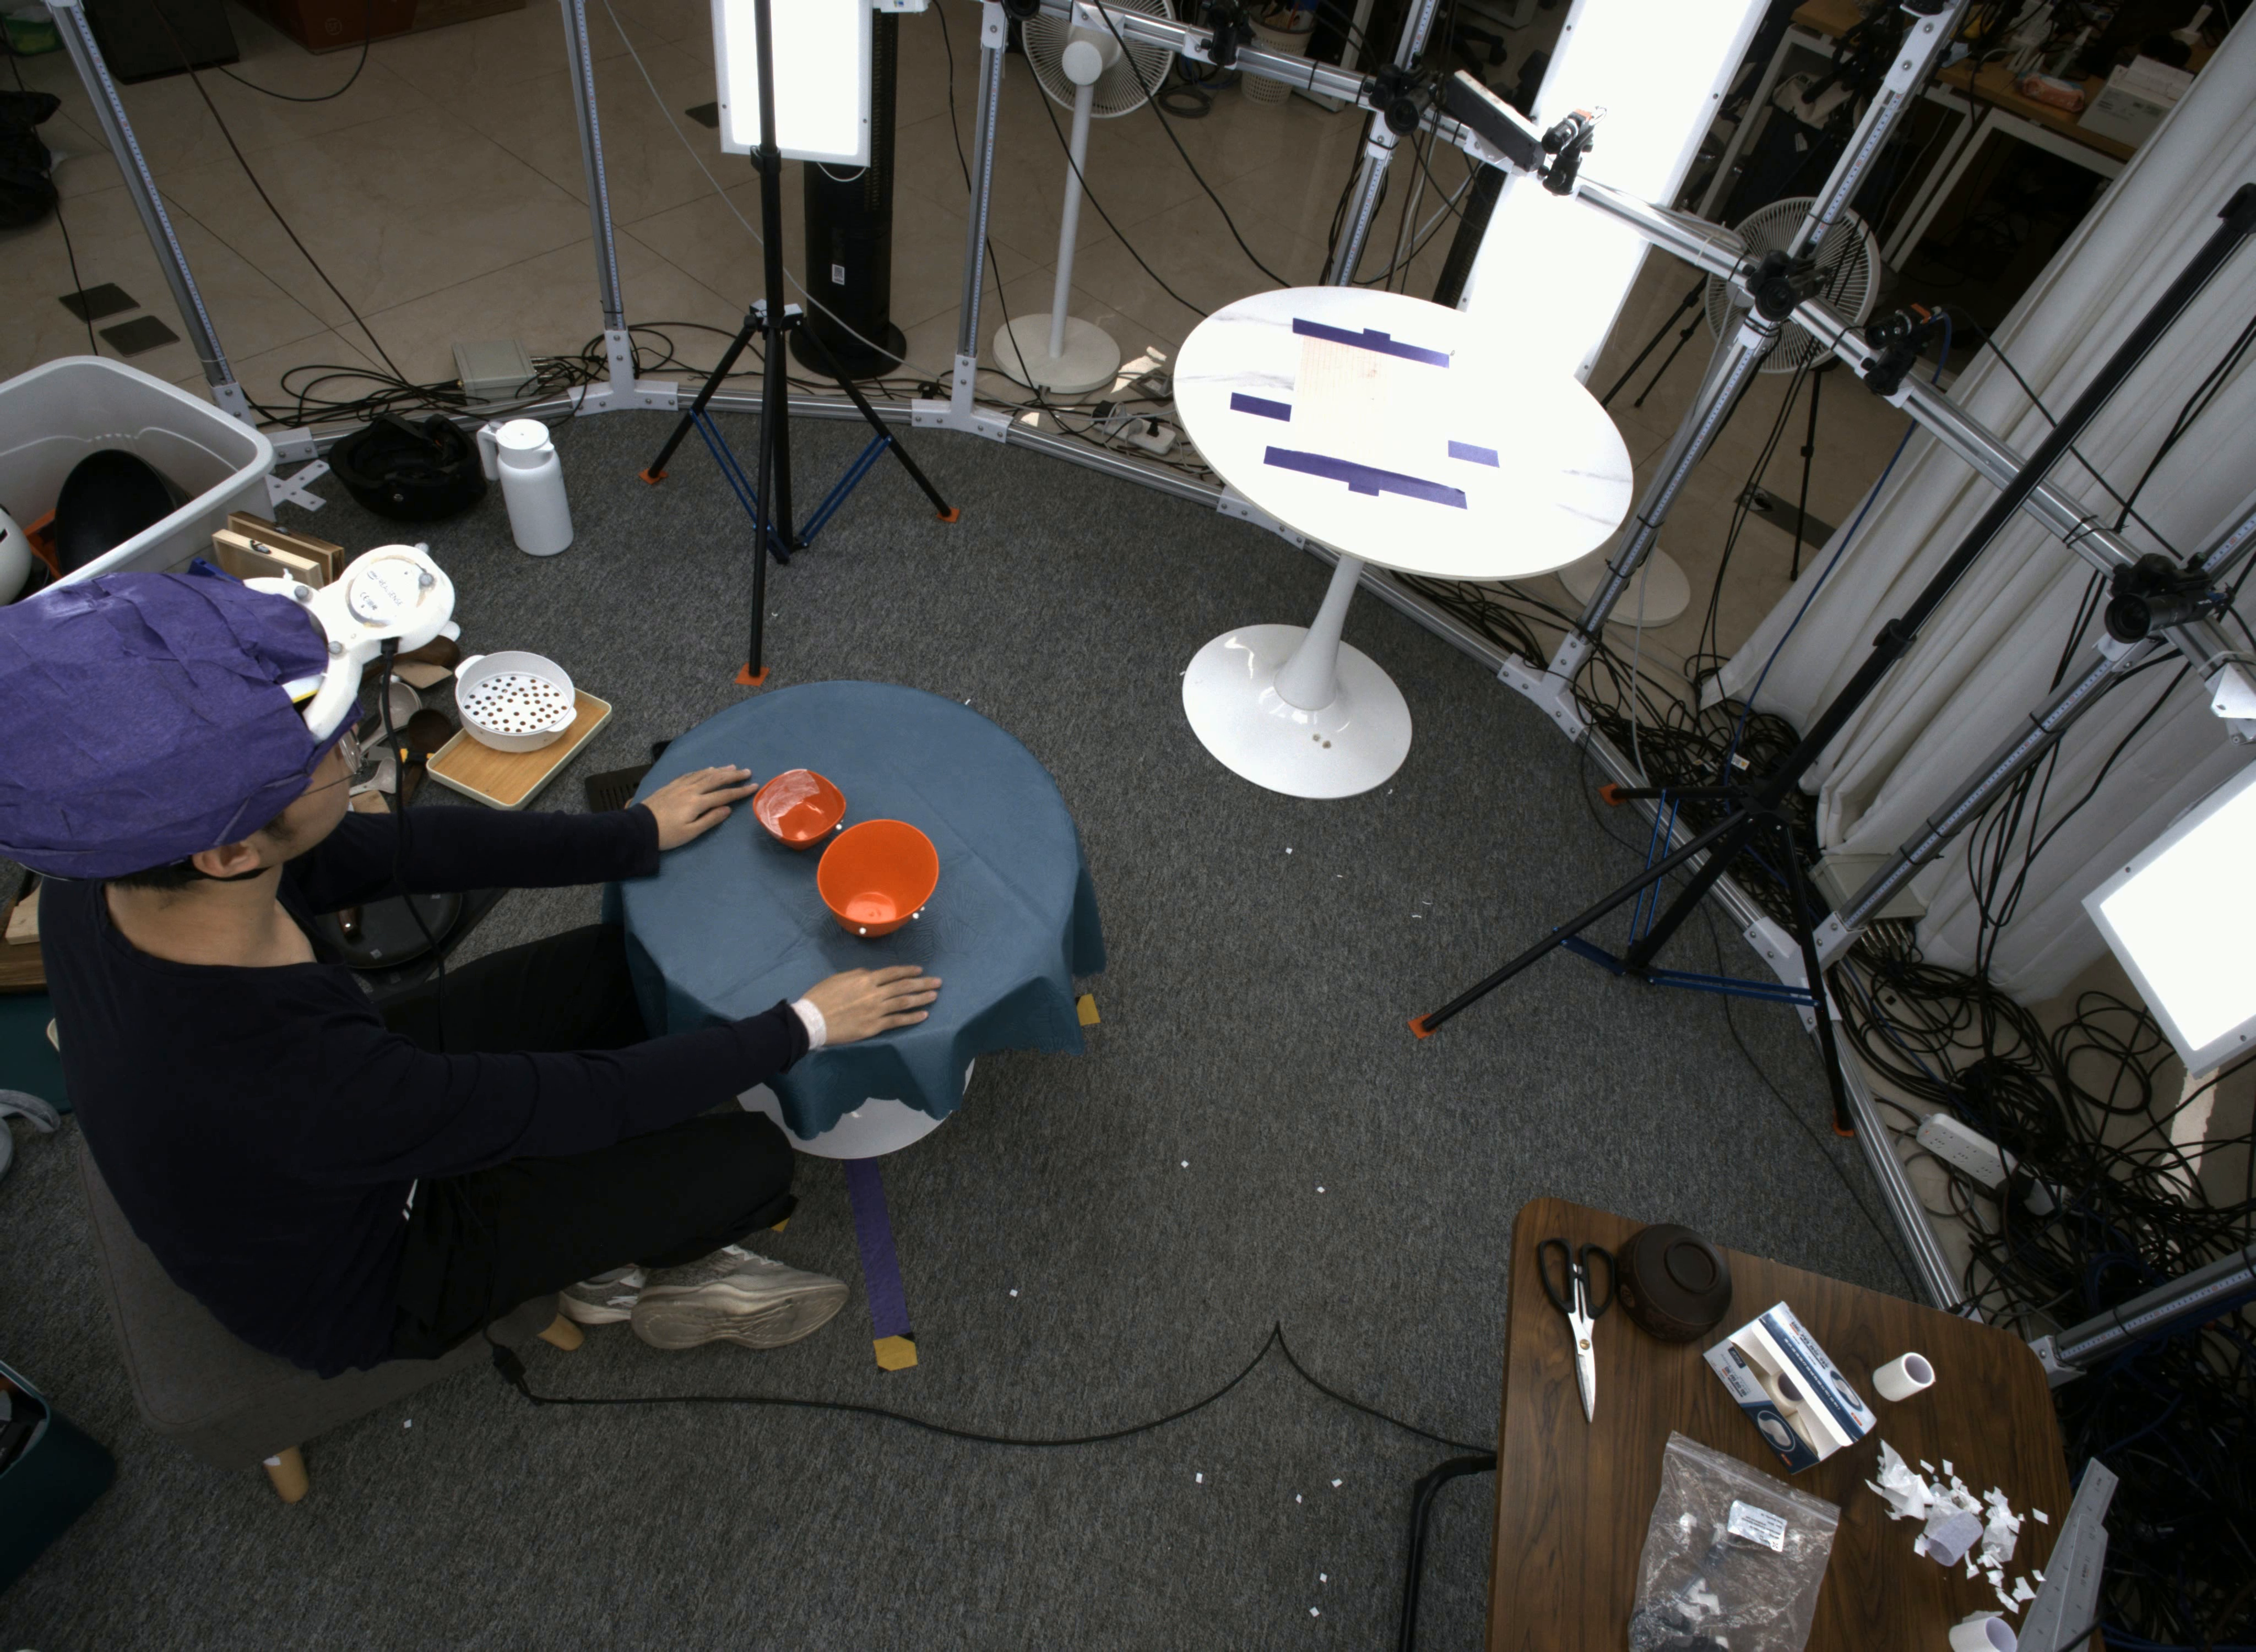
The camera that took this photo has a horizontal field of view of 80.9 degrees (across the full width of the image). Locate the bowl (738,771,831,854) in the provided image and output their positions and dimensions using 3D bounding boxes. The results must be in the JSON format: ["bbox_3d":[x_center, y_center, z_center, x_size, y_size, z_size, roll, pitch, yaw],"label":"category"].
[{"bbox_3d":[-0.451,-0.010,1.705,0.119,0.052,0.117,7,54,-9],"label":"bowl"}]

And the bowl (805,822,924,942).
[{"bbox_3d":[-0.329,0.082,1.637,0.147,0.107,0.145,6,53,-6],"label":"bowl"}]
